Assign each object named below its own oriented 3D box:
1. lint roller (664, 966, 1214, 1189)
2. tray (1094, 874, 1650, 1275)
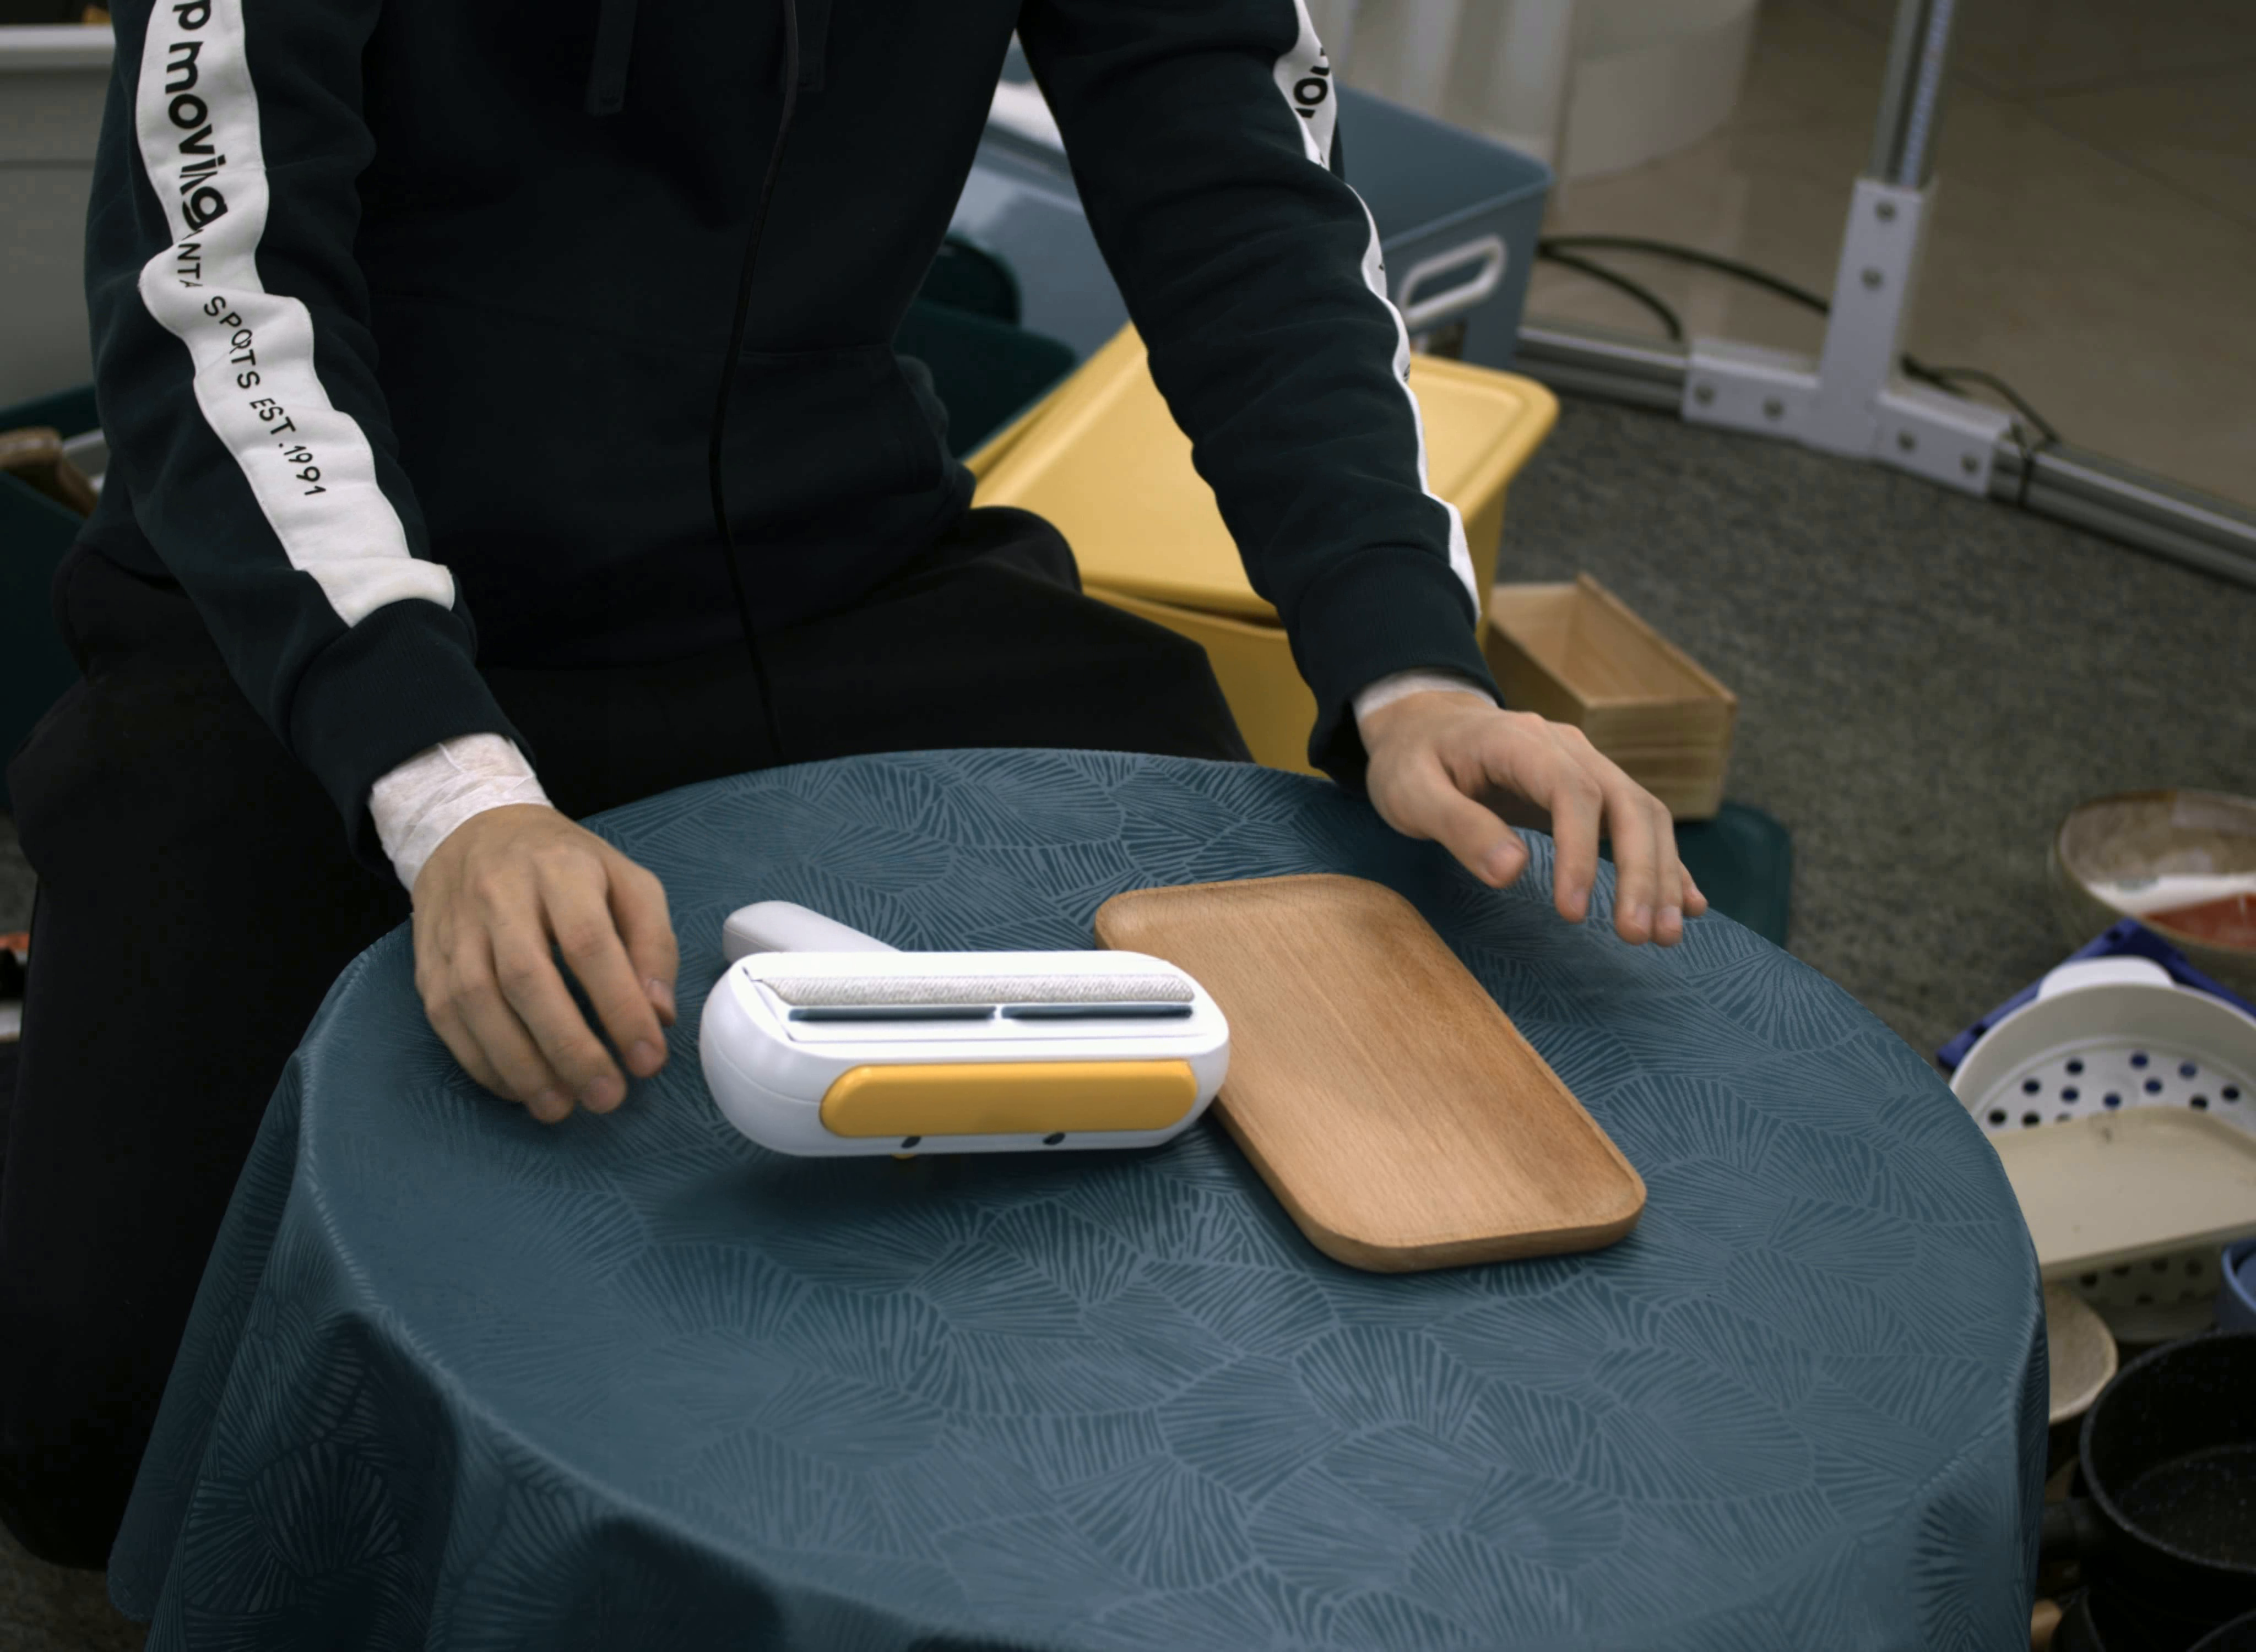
[{"bbox_3d":[-0.088,0.076,1.840,0.191,0.074,0.194,0,12,-26],"label":"lint roller"},{"bbox_3d":[0.082,0.085,1.876,0.130,0.023,0.253,-2,28,-21],"label":"tray"}]
